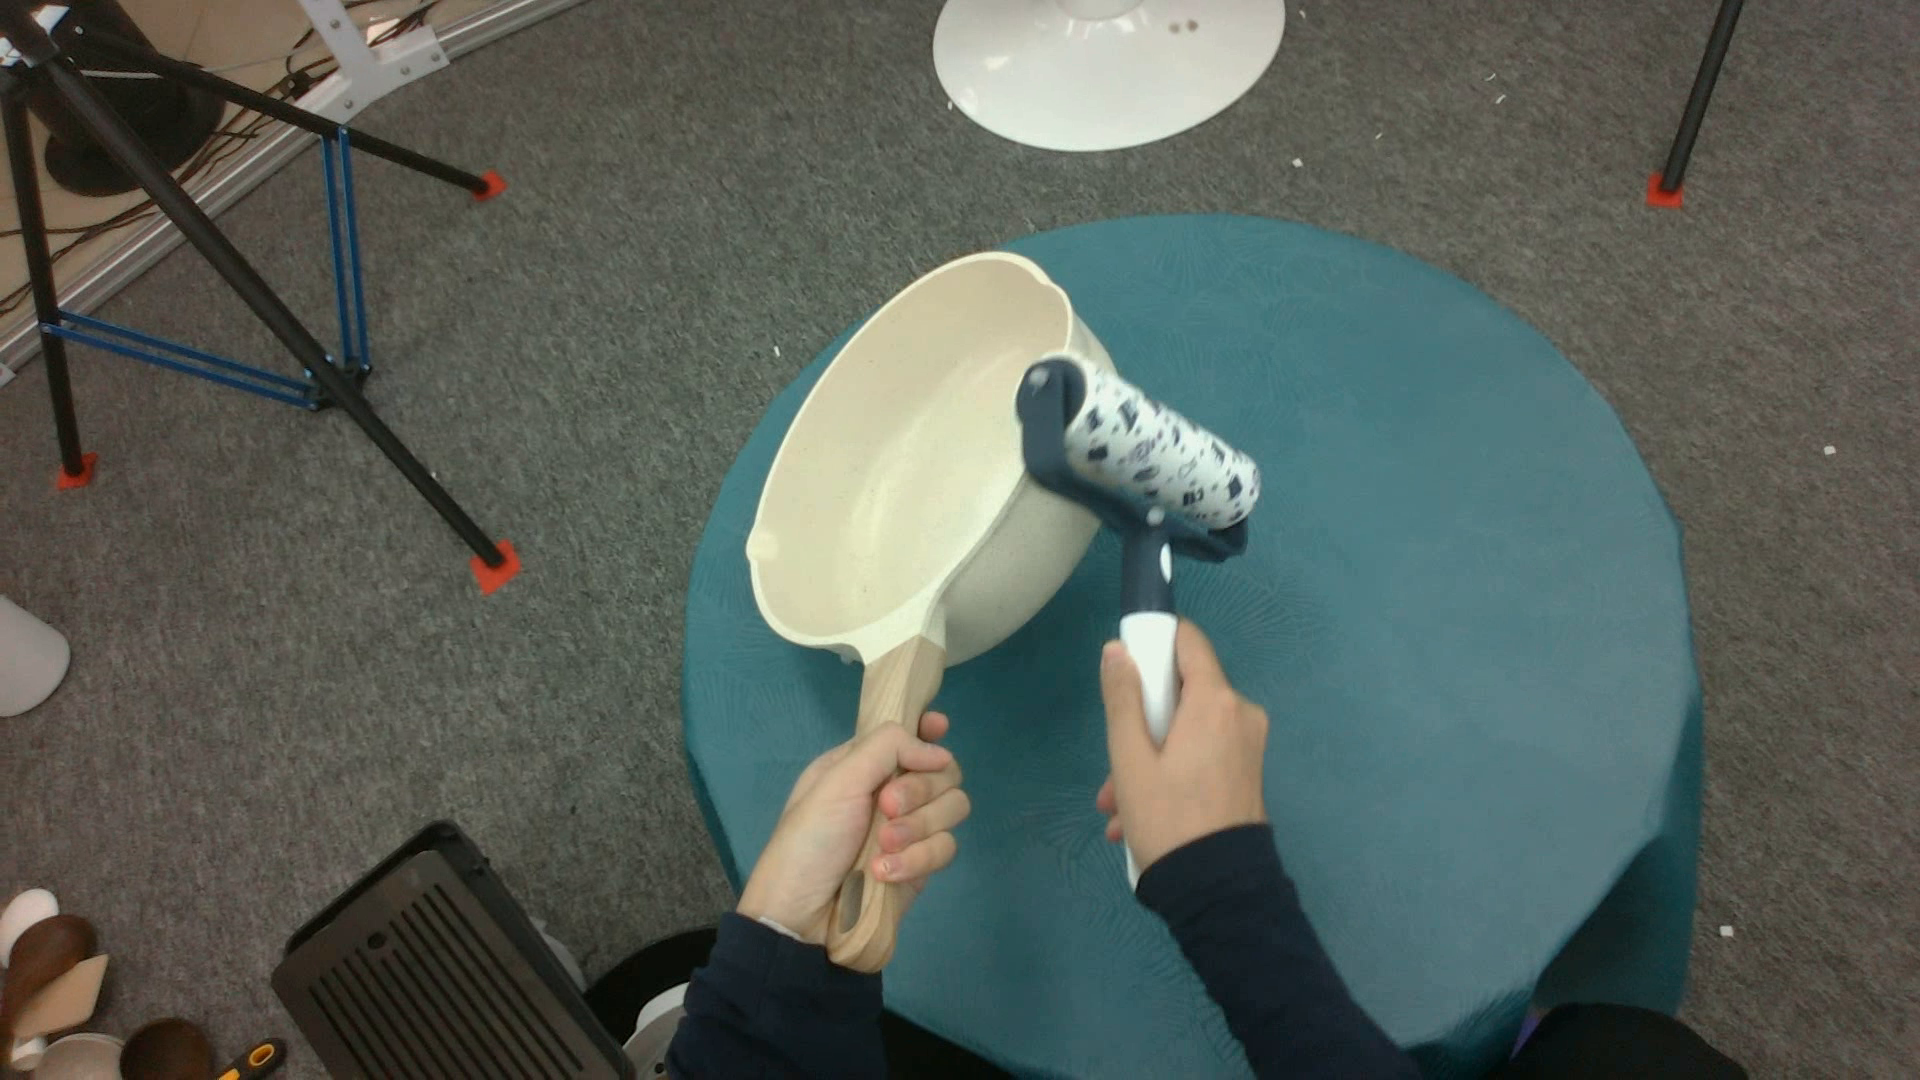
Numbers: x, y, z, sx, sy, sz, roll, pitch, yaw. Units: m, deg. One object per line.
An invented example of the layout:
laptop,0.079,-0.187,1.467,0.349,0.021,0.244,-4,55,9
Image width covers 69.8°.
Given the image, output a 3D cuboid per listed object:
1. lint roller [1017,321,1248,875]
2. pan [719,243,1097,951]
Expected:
lint roller,0.090,0.035,0.668,0.050,0.176,0.248,-13,67,34
pan,-0.023,0.022,0.728,0.262,0.102,0.437,-31,41,28
